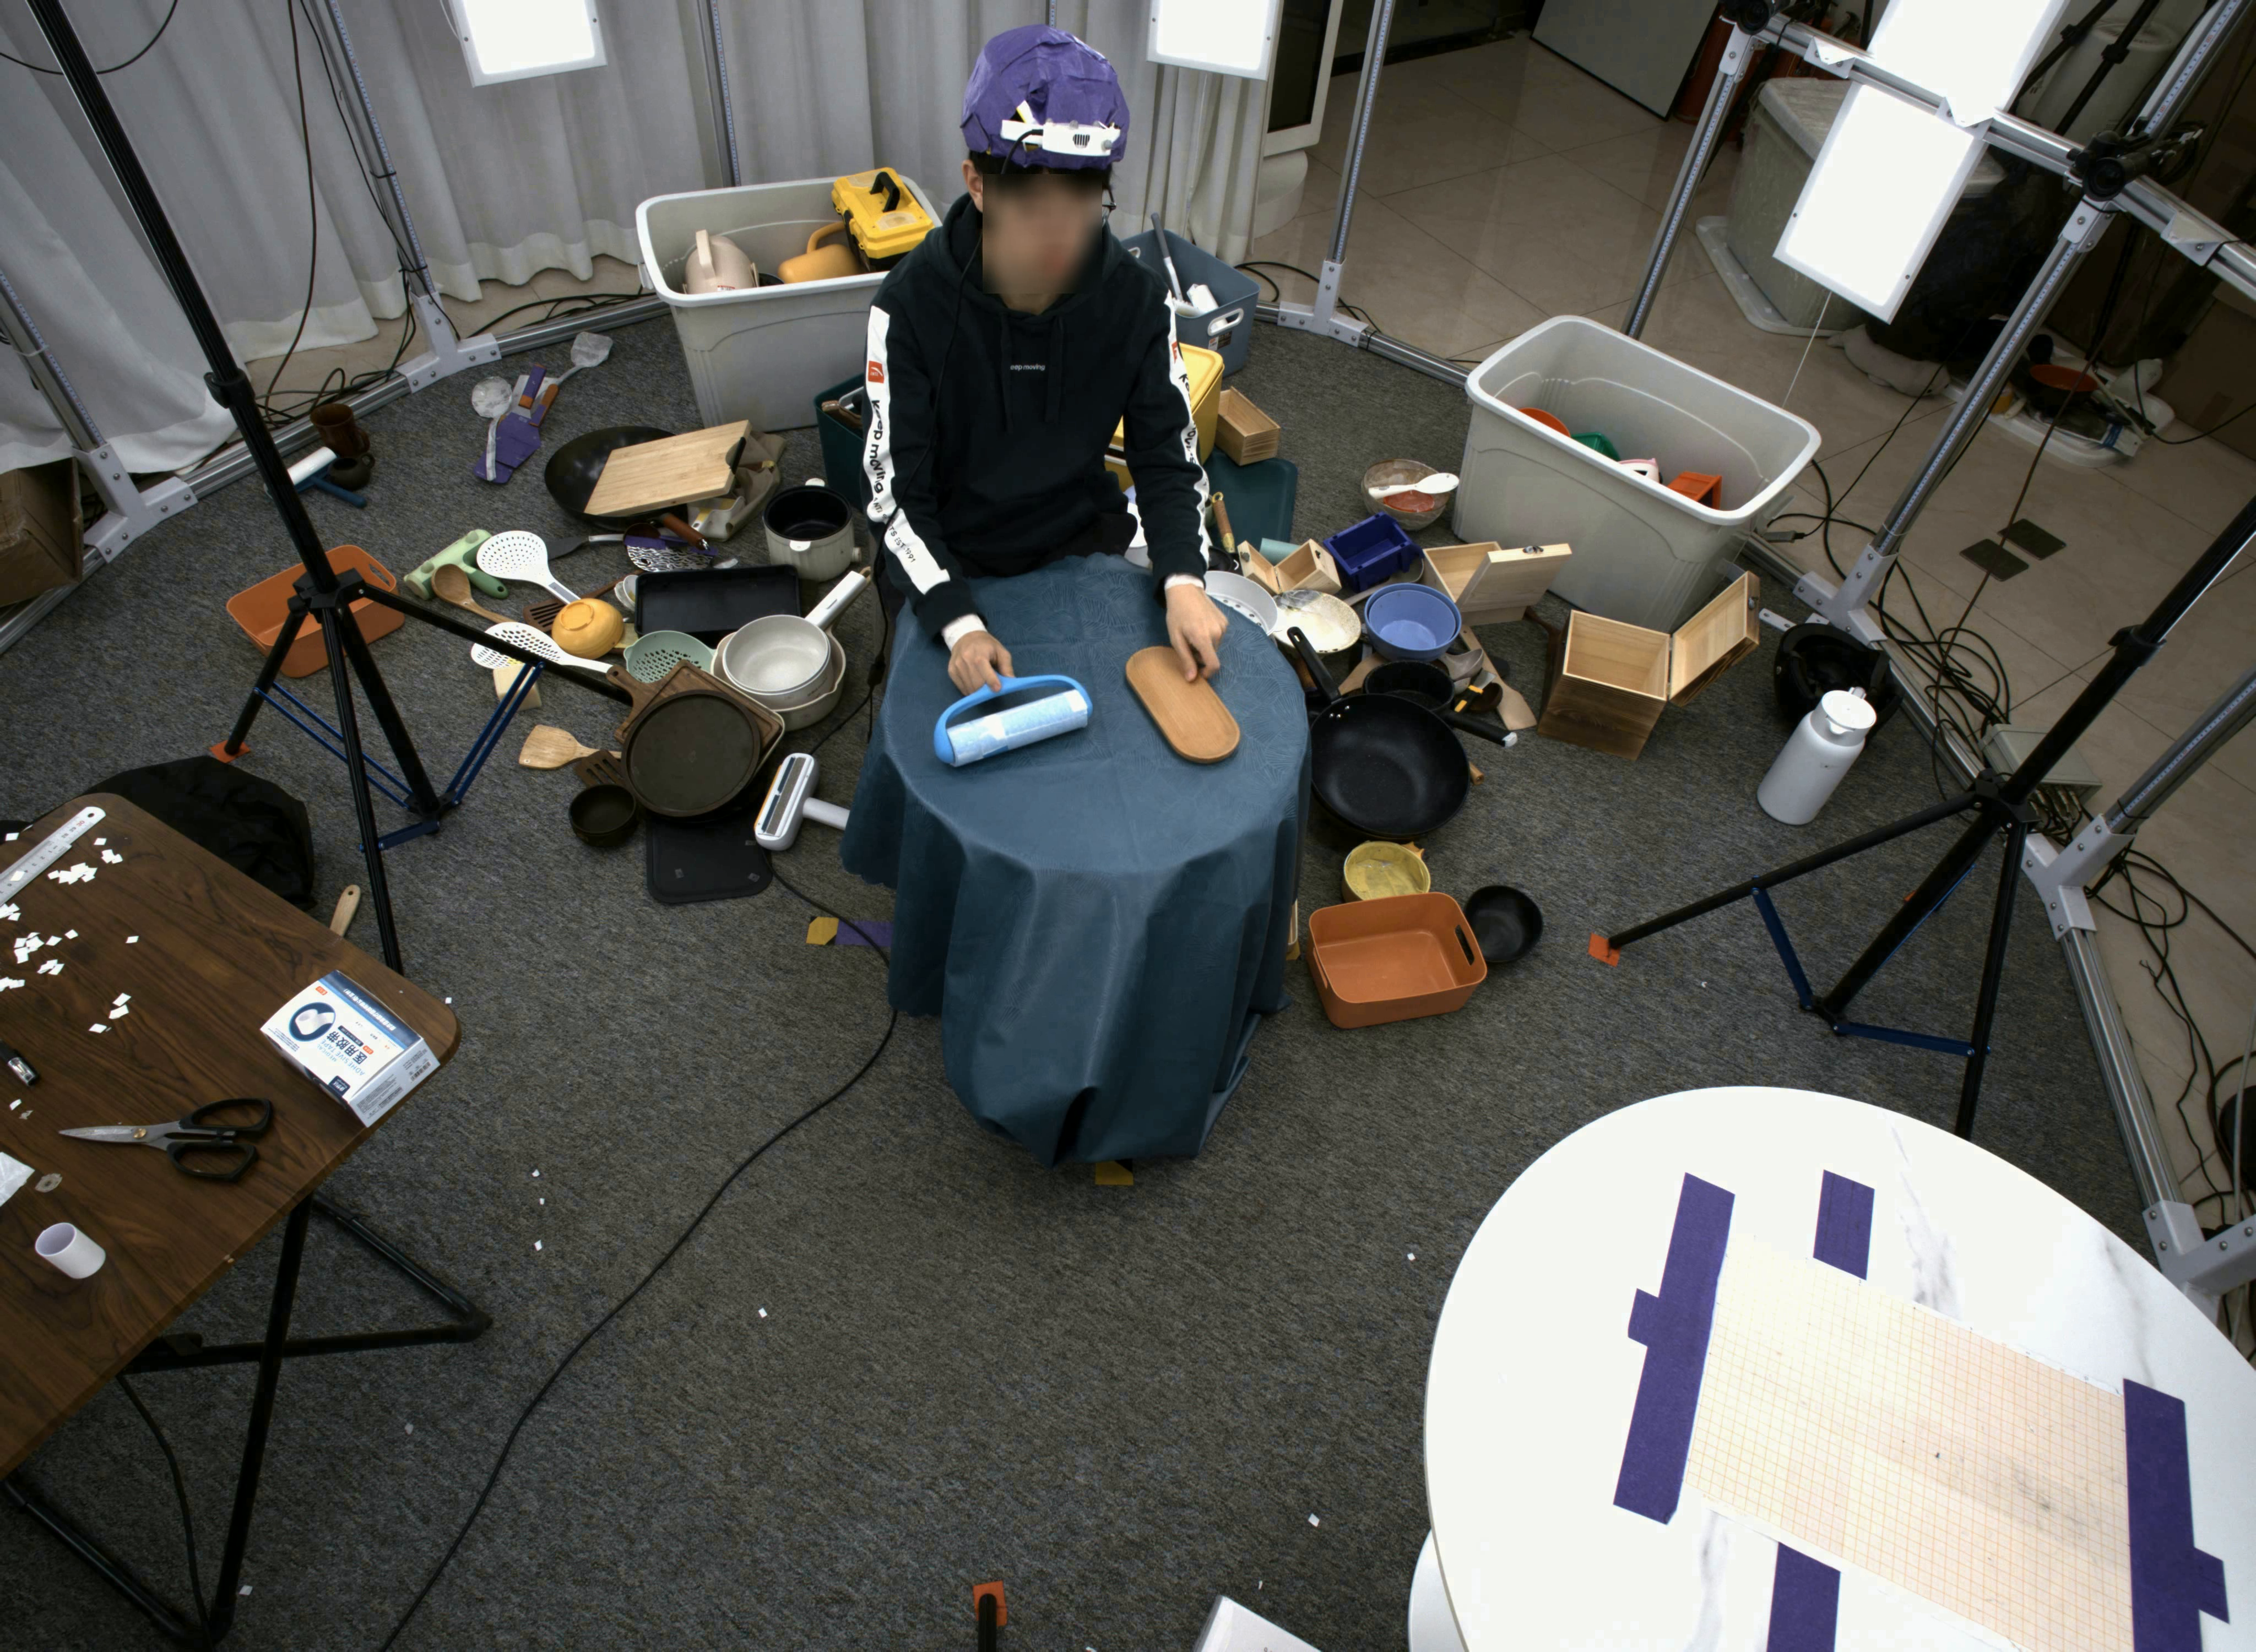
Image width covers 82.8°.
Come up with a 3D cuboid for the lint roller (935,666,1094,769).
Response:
[{"bbox_3d":[-0.180,-0.175,1.770,0.229,0.066,0.184,-22,55,-20],"label":"lint roller"}]

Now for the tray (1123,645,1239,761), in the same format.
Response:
[{"bbox_3d":[0.073,-0.176,1.813,0.102,0.020,0.236,-20,52,-17],"label":"tray"}]
